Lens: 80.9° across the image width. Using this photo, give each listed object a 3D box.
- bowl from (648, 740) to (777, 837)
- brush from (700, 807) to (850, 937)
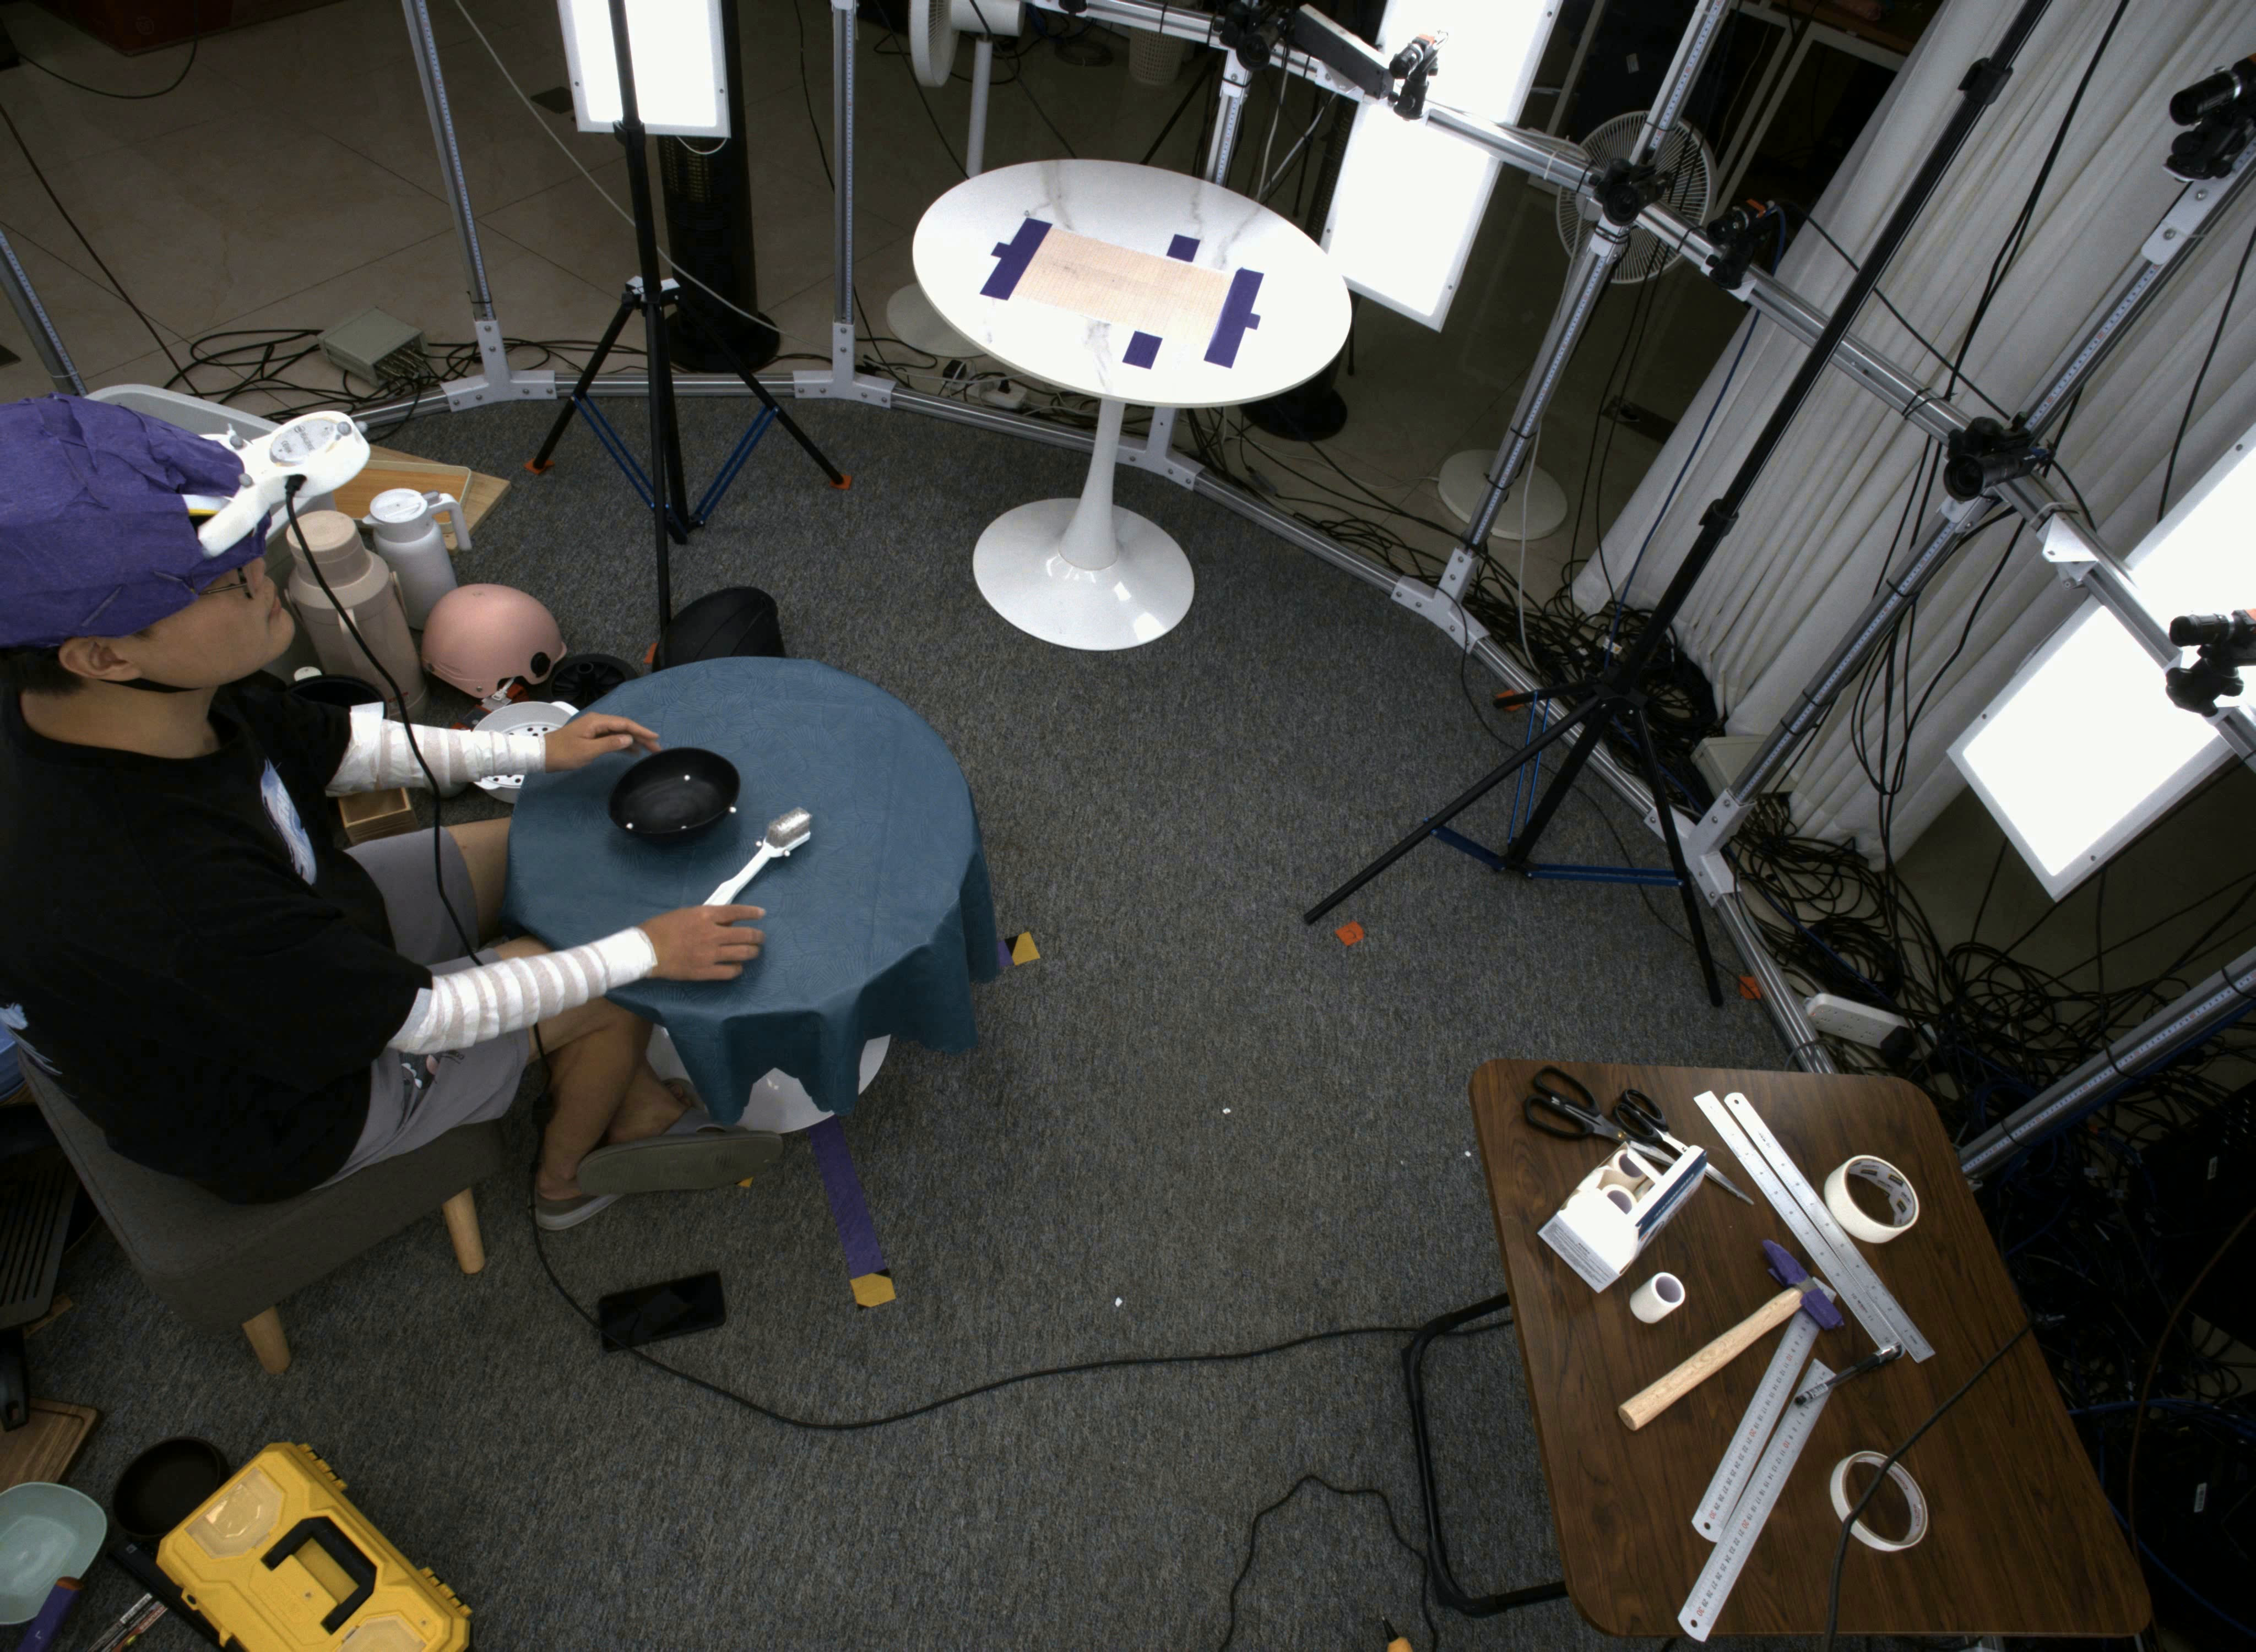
[{"bbox_3d":[-0.542,-0.037,1.692,0.171,0.068,0.134,-20,60,-23],"label":"bowl"},{"bbox_3d":[-0.451,0.052,1.657,0.034,0.051,0.244,37,54,15],"label":"brush"}]
